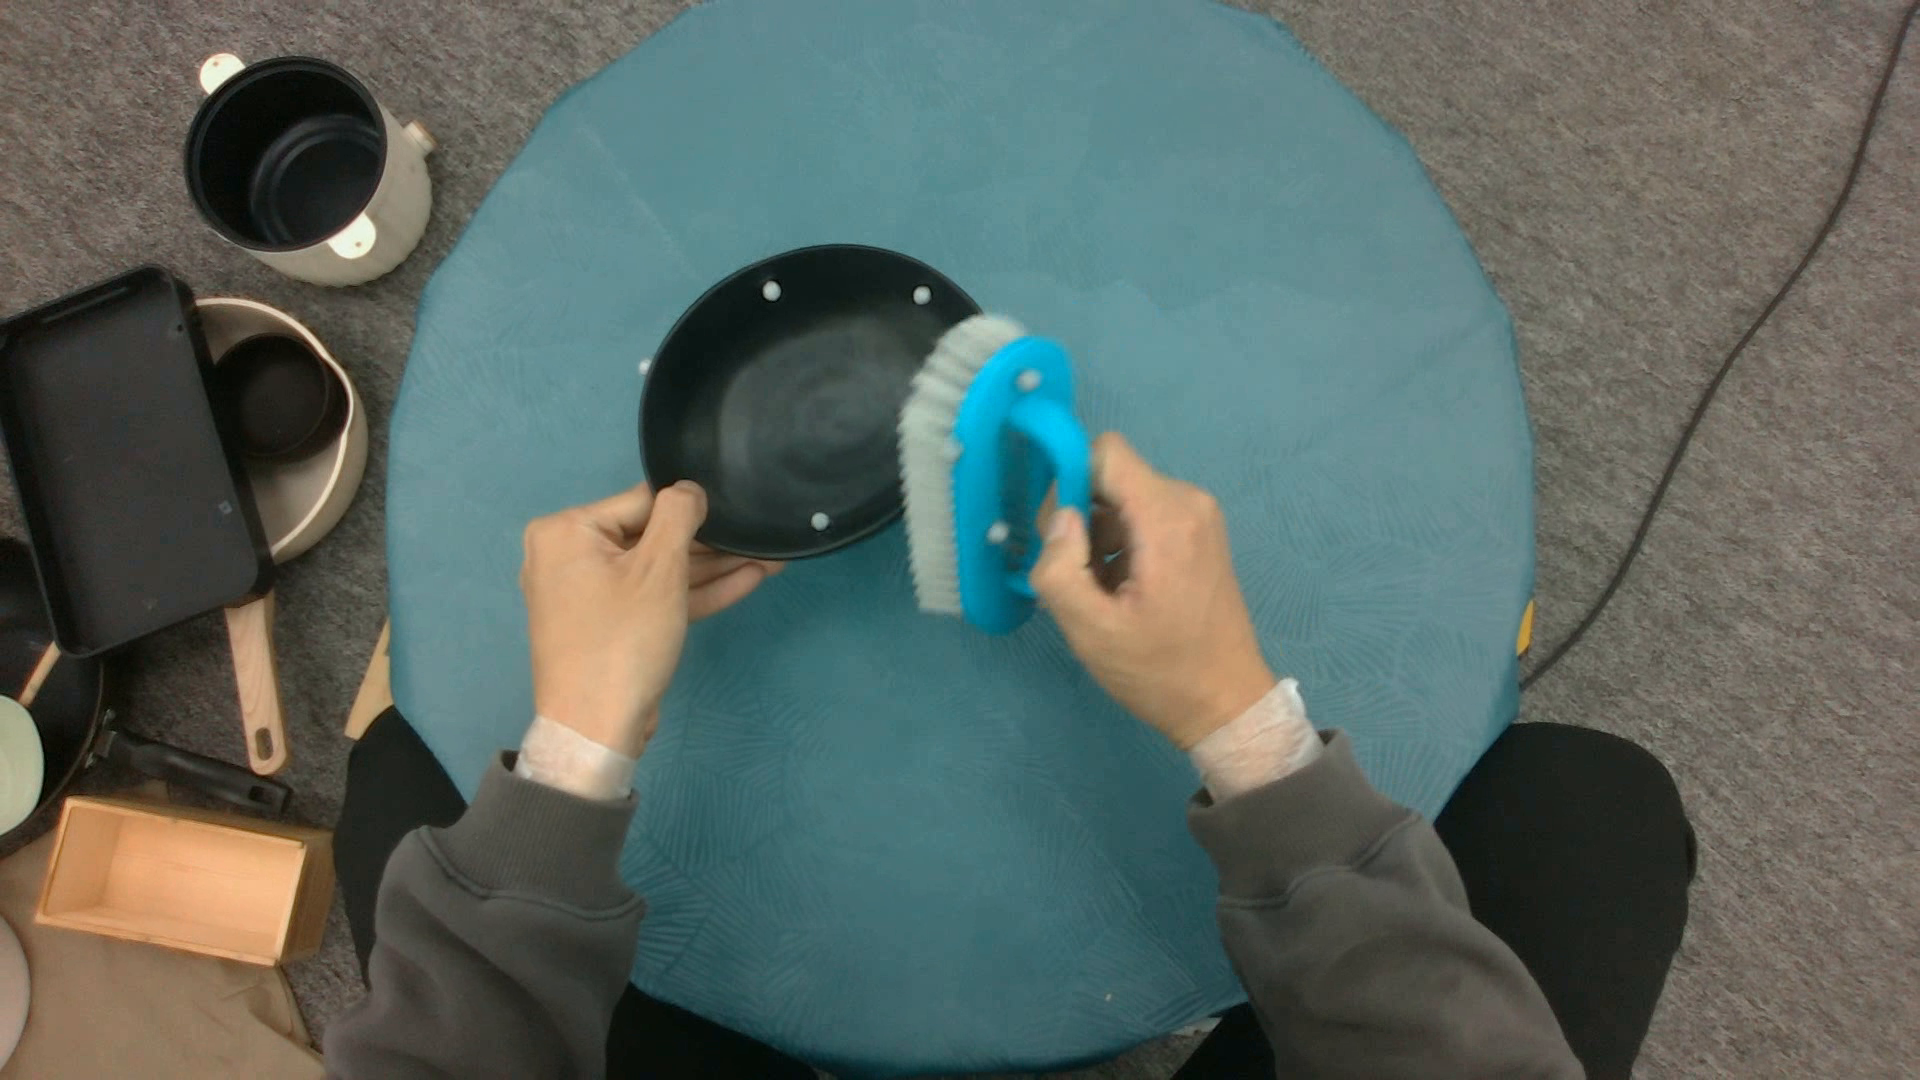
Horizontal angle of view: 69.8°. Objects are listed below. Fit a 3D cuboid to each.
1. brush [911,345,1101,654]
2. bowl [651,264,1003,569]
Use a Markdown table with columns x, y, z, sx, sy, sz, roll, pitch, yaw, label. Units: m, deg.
| x | y | z | sx | sy | sz | roll | pitch | yaw | label |
| --- | --- | --- | --- | --- | --- | --- | --- | --- | --- |
| 0.028 | -0.013 | 0.586 | 0.064 | 0.141 | 0.085 | 21 | 41 | 30 | brush |
| -0.060 | -0.055 | 0.653 | 0.170 | 0.066 | 0.137 | -32 | 78 | -3 | bowl |
